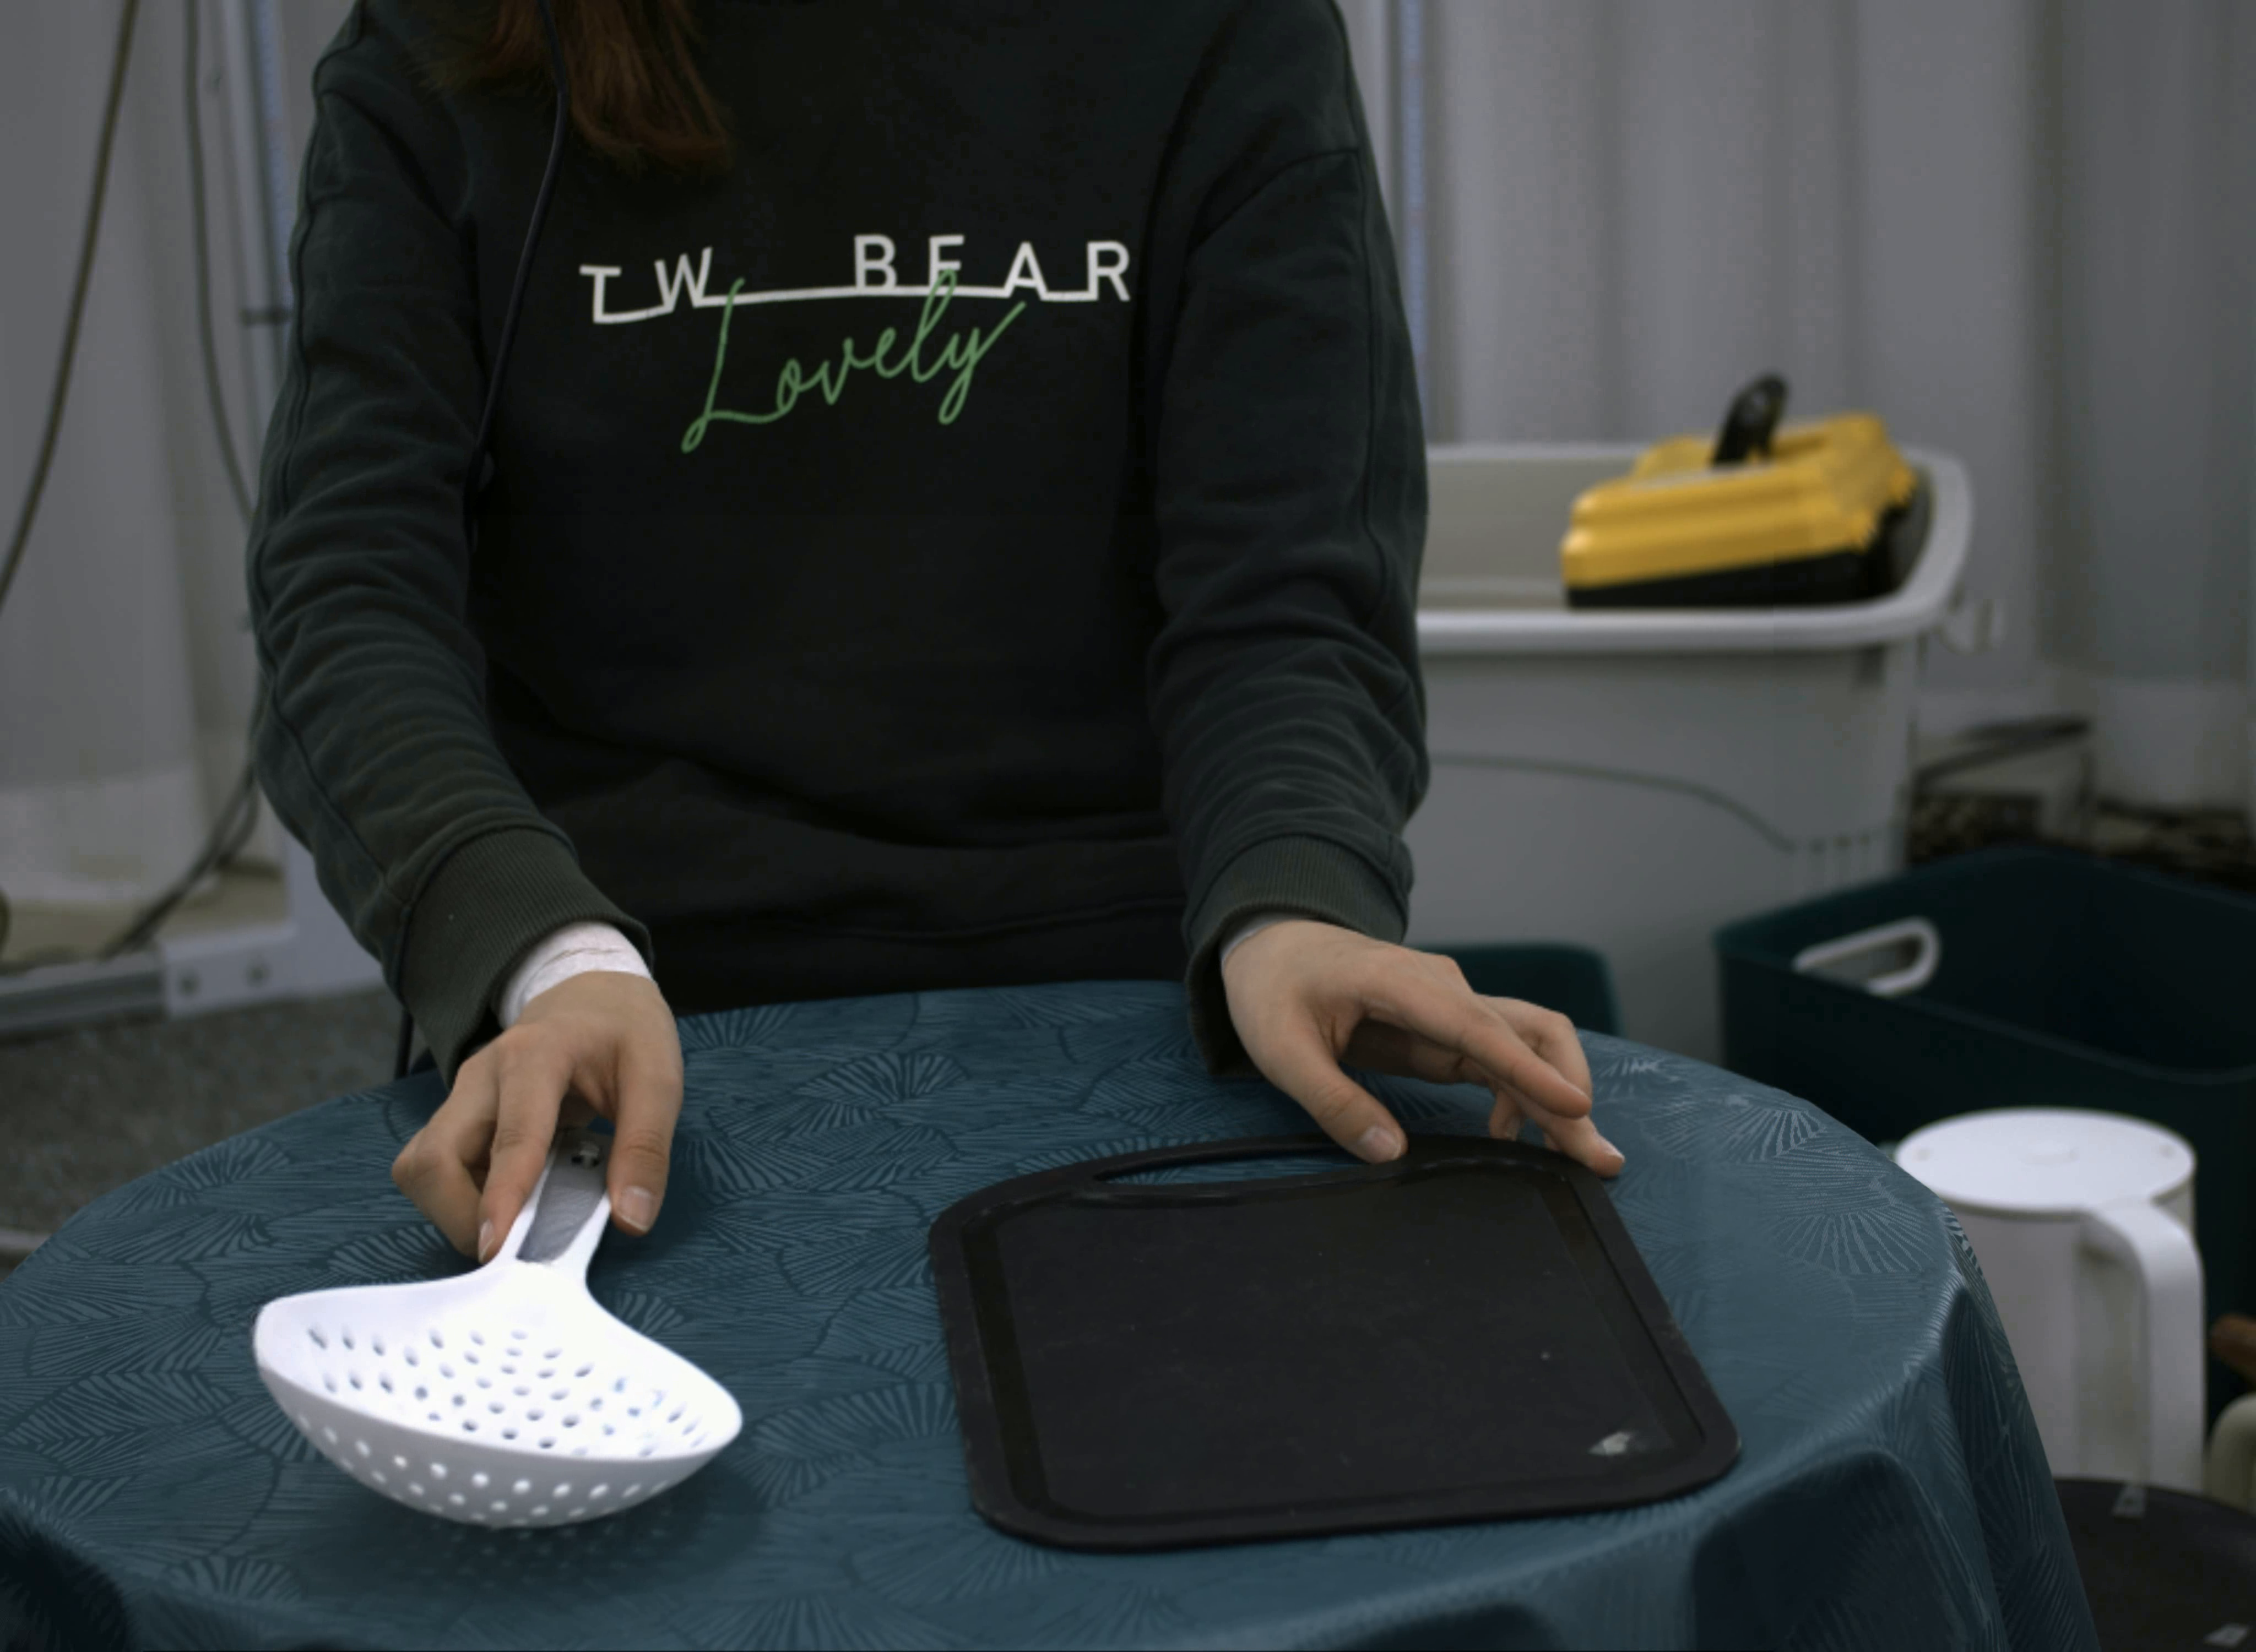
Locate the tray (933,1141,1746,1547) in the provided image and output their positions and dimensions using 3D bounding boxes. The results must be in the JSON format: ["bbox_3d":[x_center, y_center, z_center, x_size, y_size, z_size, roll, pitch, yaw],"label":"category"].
[{"bbox_3d":[0.052,0.142,1.586,0.210,0.010,0.328,-4,15,-4],"label":"tray"}]

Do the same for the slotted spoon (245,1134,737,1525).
[{"bbox_3d":[-0.172,0.135,1.576,0.135,0.045,0.352,14,14,-2],"label":"slotted spoon"}]
